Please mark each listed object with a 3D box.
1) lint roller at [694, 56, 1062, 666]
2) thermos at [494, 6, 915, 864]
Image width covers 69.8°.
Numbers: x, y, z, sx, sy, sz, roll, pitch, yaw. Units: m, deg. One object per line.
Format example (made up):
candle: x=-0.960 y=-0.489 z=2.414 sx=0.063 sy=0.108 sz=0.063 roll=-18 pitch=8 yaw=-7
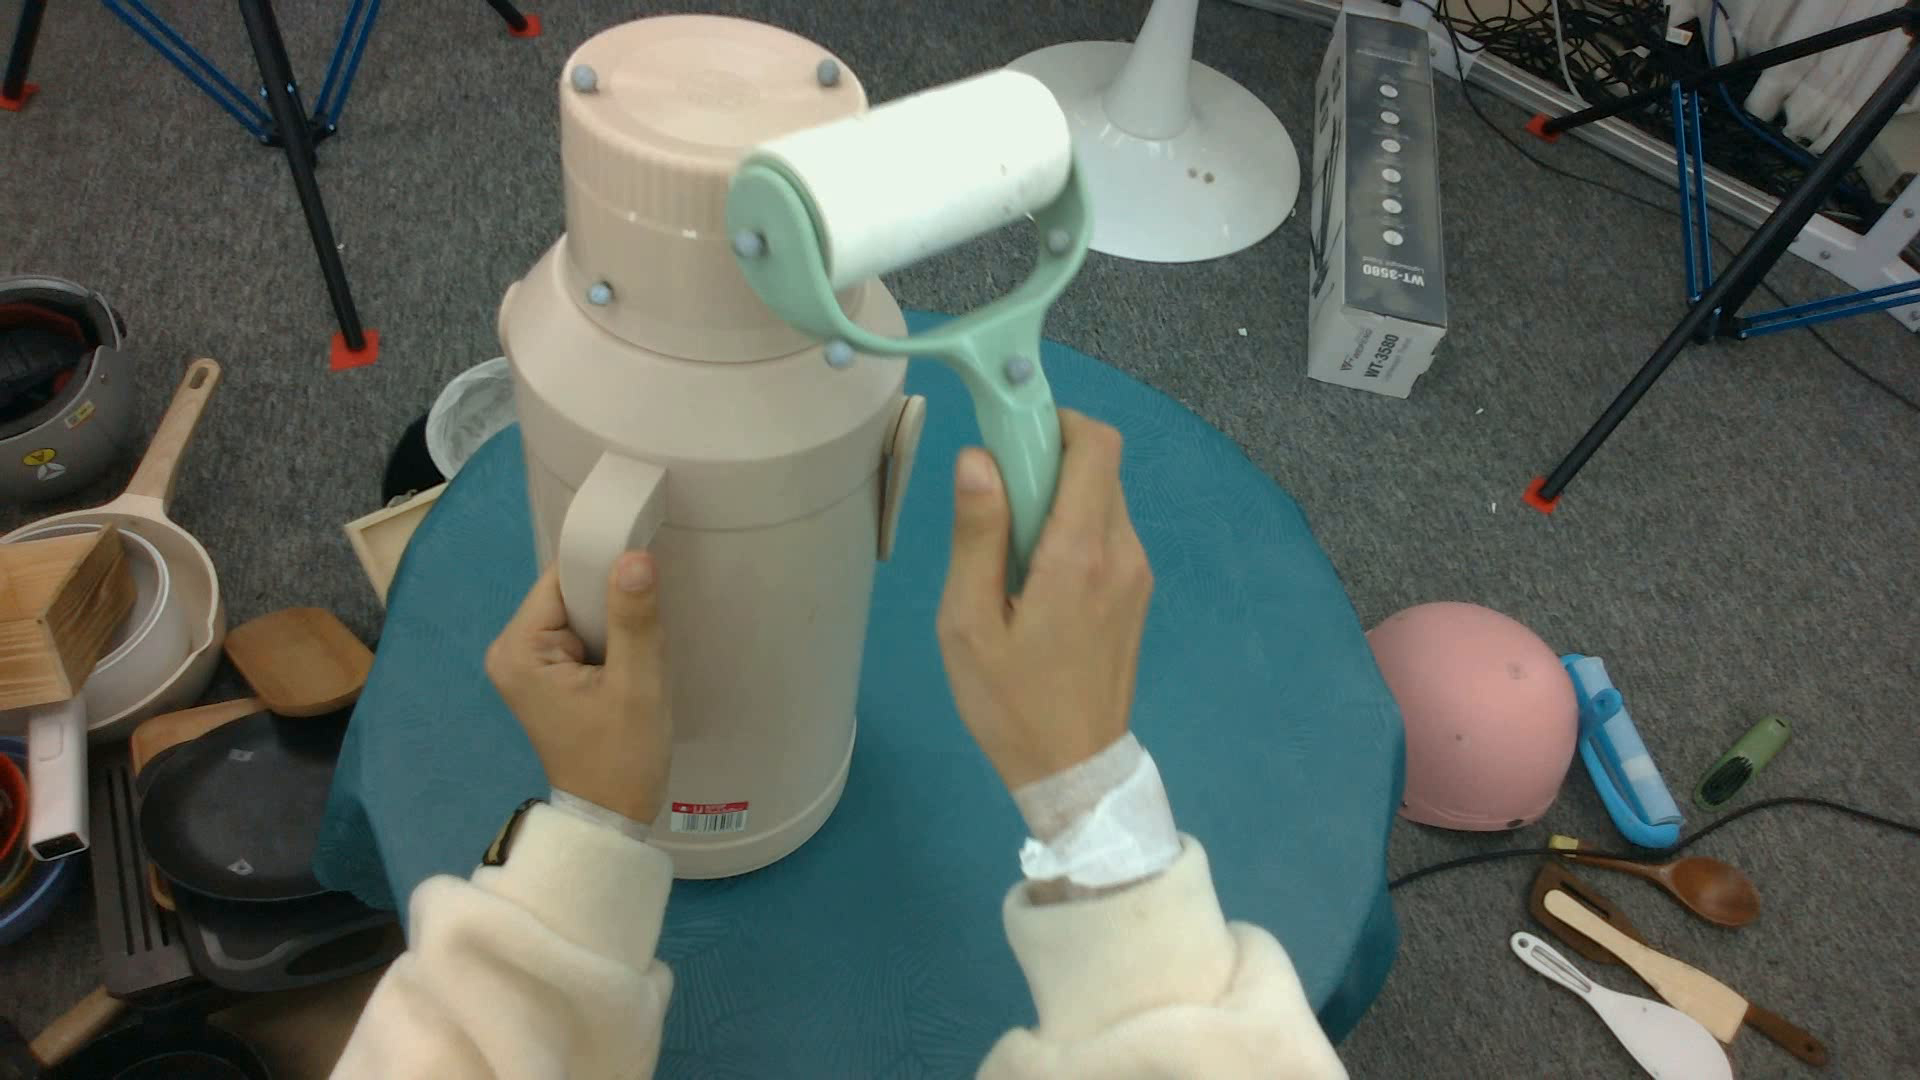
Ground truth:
lint roller: x=-0.001 y=-0.046 z=0.439 sx=0.117 sy=0.048 sz=0.197 roll=-31 pitch=106 yaw=-37
thermos: x=-0.120 y=-0.015 z=0.609 sx=0.175 sy=0.404 sz=0.208 roll=17 pitch=46 yaw=3
